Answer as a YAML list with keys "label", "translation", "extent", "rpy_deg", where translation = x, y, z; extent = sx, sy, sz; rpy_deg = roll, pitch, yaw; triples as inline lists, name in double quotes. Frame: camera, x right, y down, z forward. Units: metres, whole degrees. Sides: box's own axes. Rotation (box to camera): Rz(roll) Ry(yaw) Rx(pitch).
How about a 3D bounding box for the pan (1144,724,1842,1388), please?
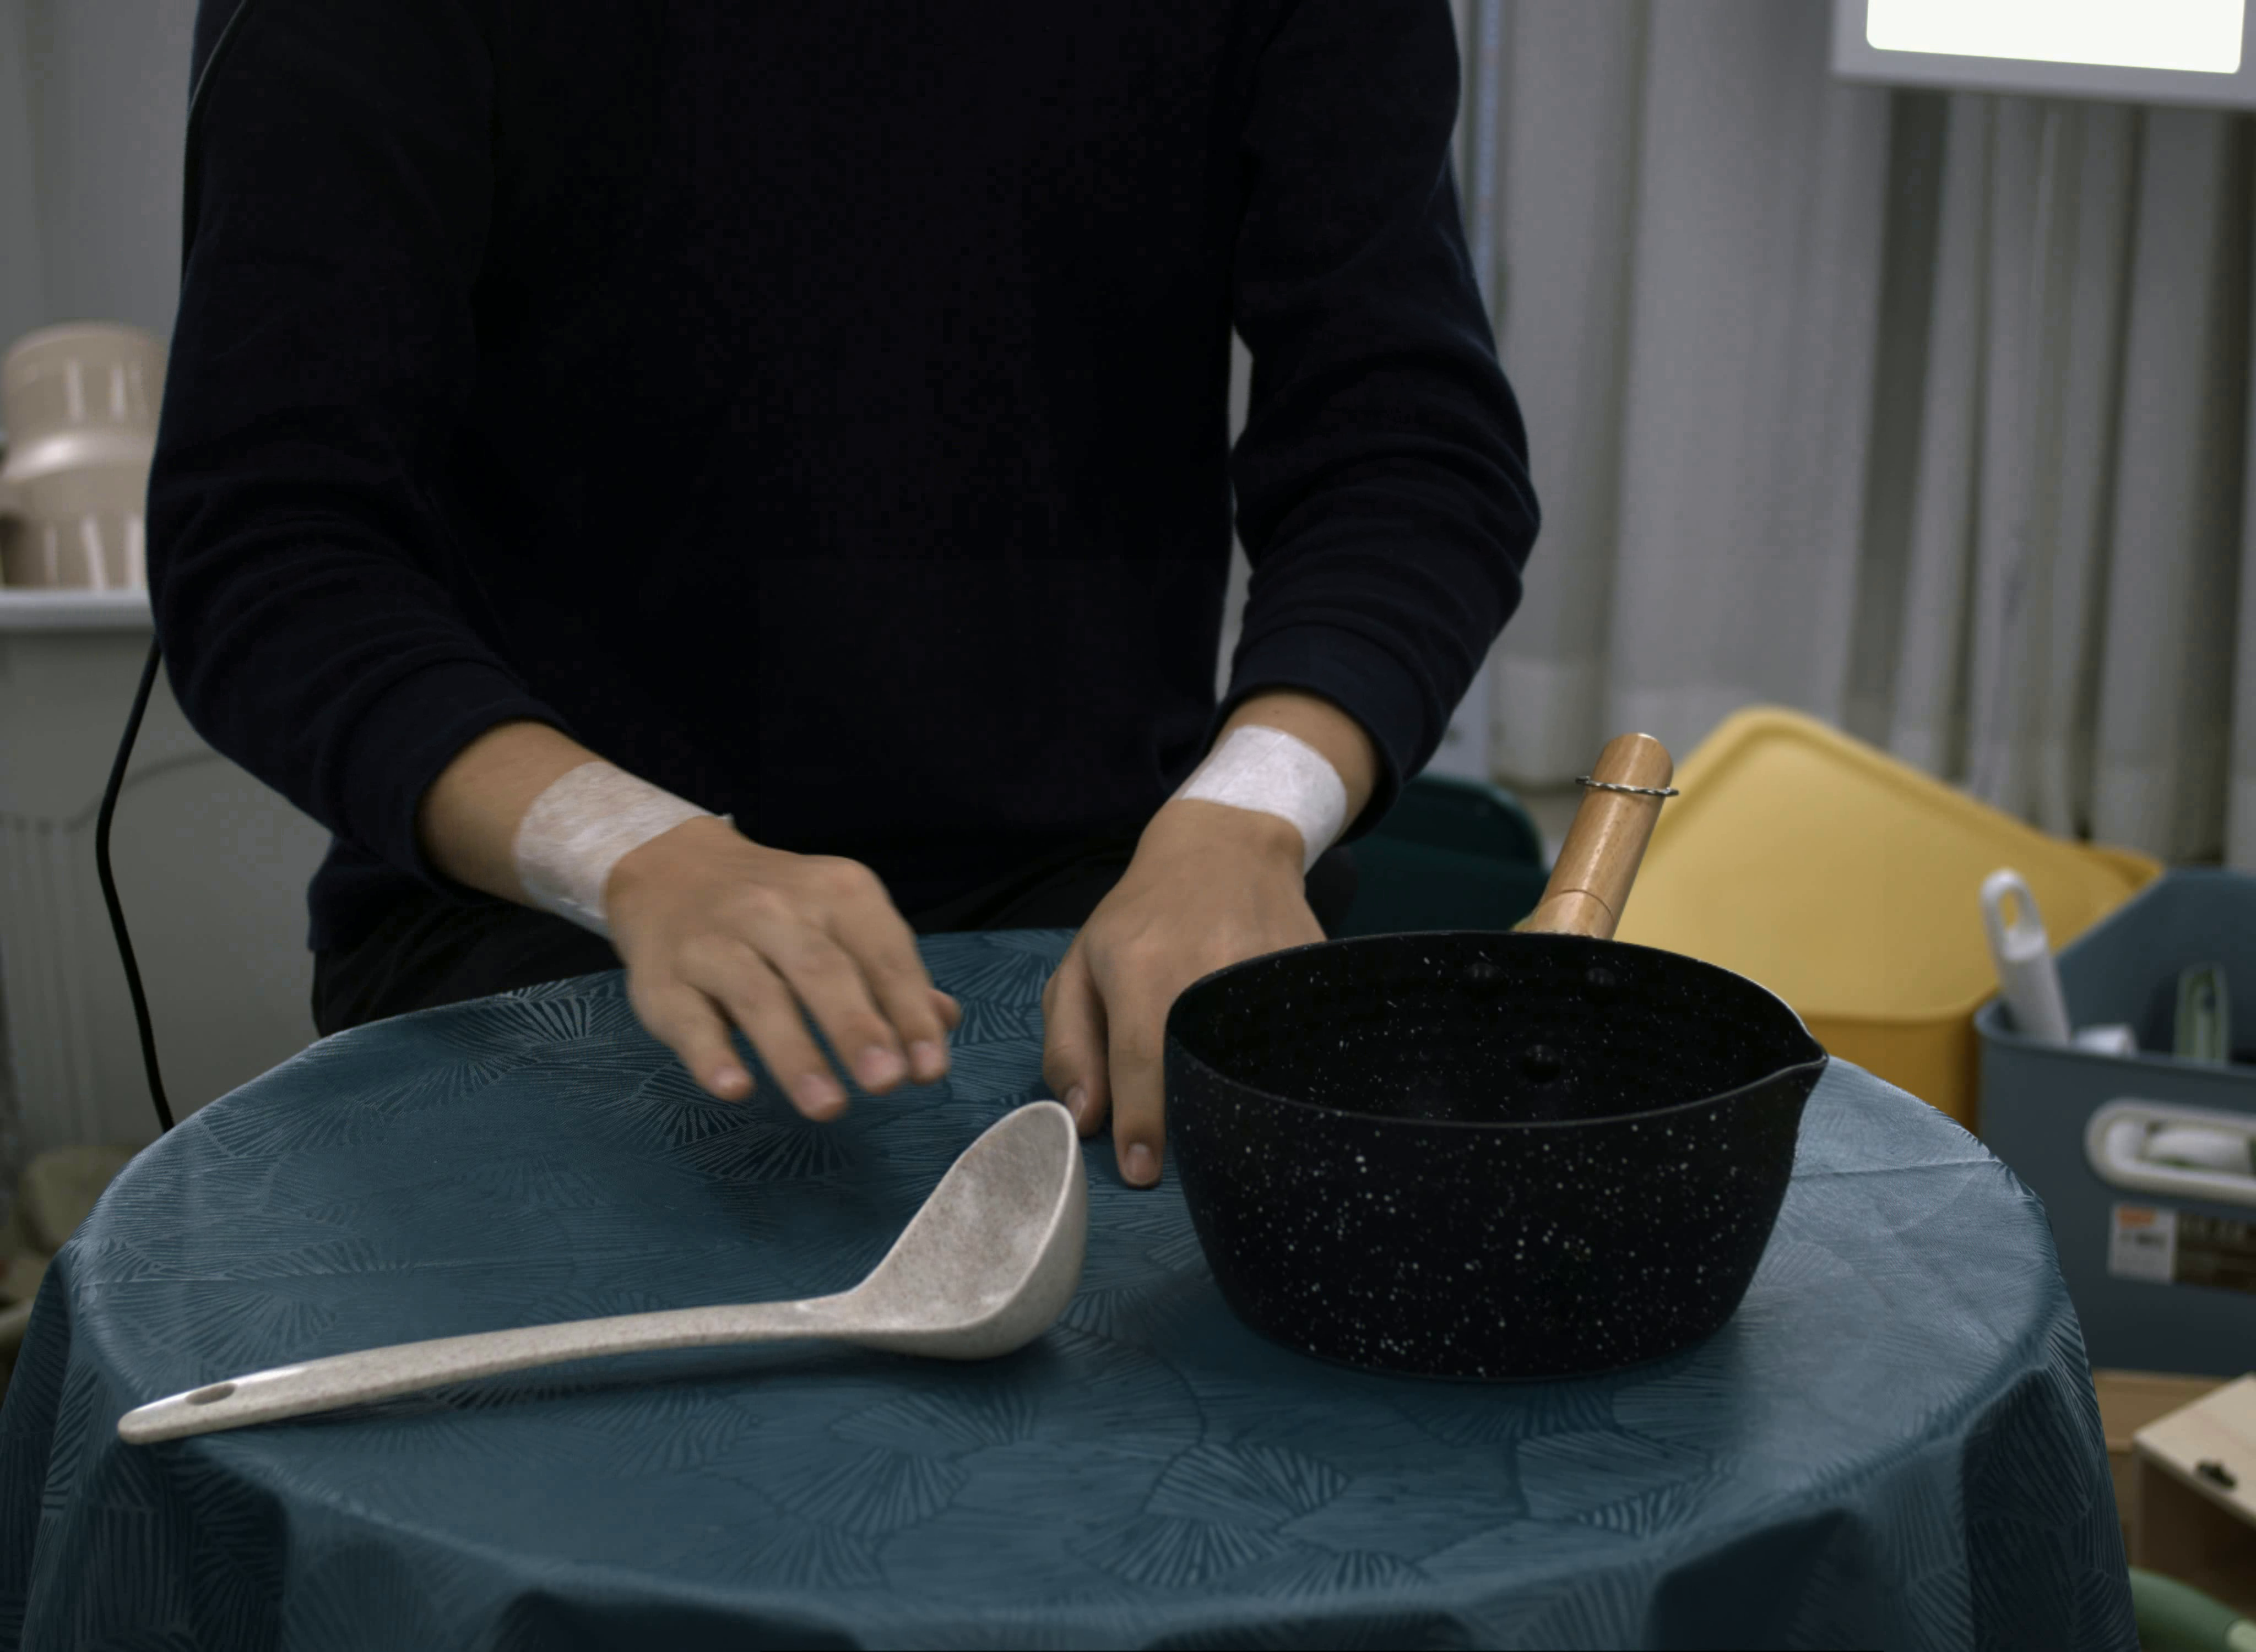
- label: "pan"
  translation: [0.122, 0.064, 1.597]
  extent: [0.206, 0.109, 0.342]
  rpy_deg: [3, 17, 14]

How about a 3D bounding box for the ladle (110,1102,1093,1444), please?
- label: "ladle"
  translation: [-0.144, 0.123, 1.454]
  extent: [0.275, 0.070, 0.088]
  rpy_deg: [-4, 22, -16]
